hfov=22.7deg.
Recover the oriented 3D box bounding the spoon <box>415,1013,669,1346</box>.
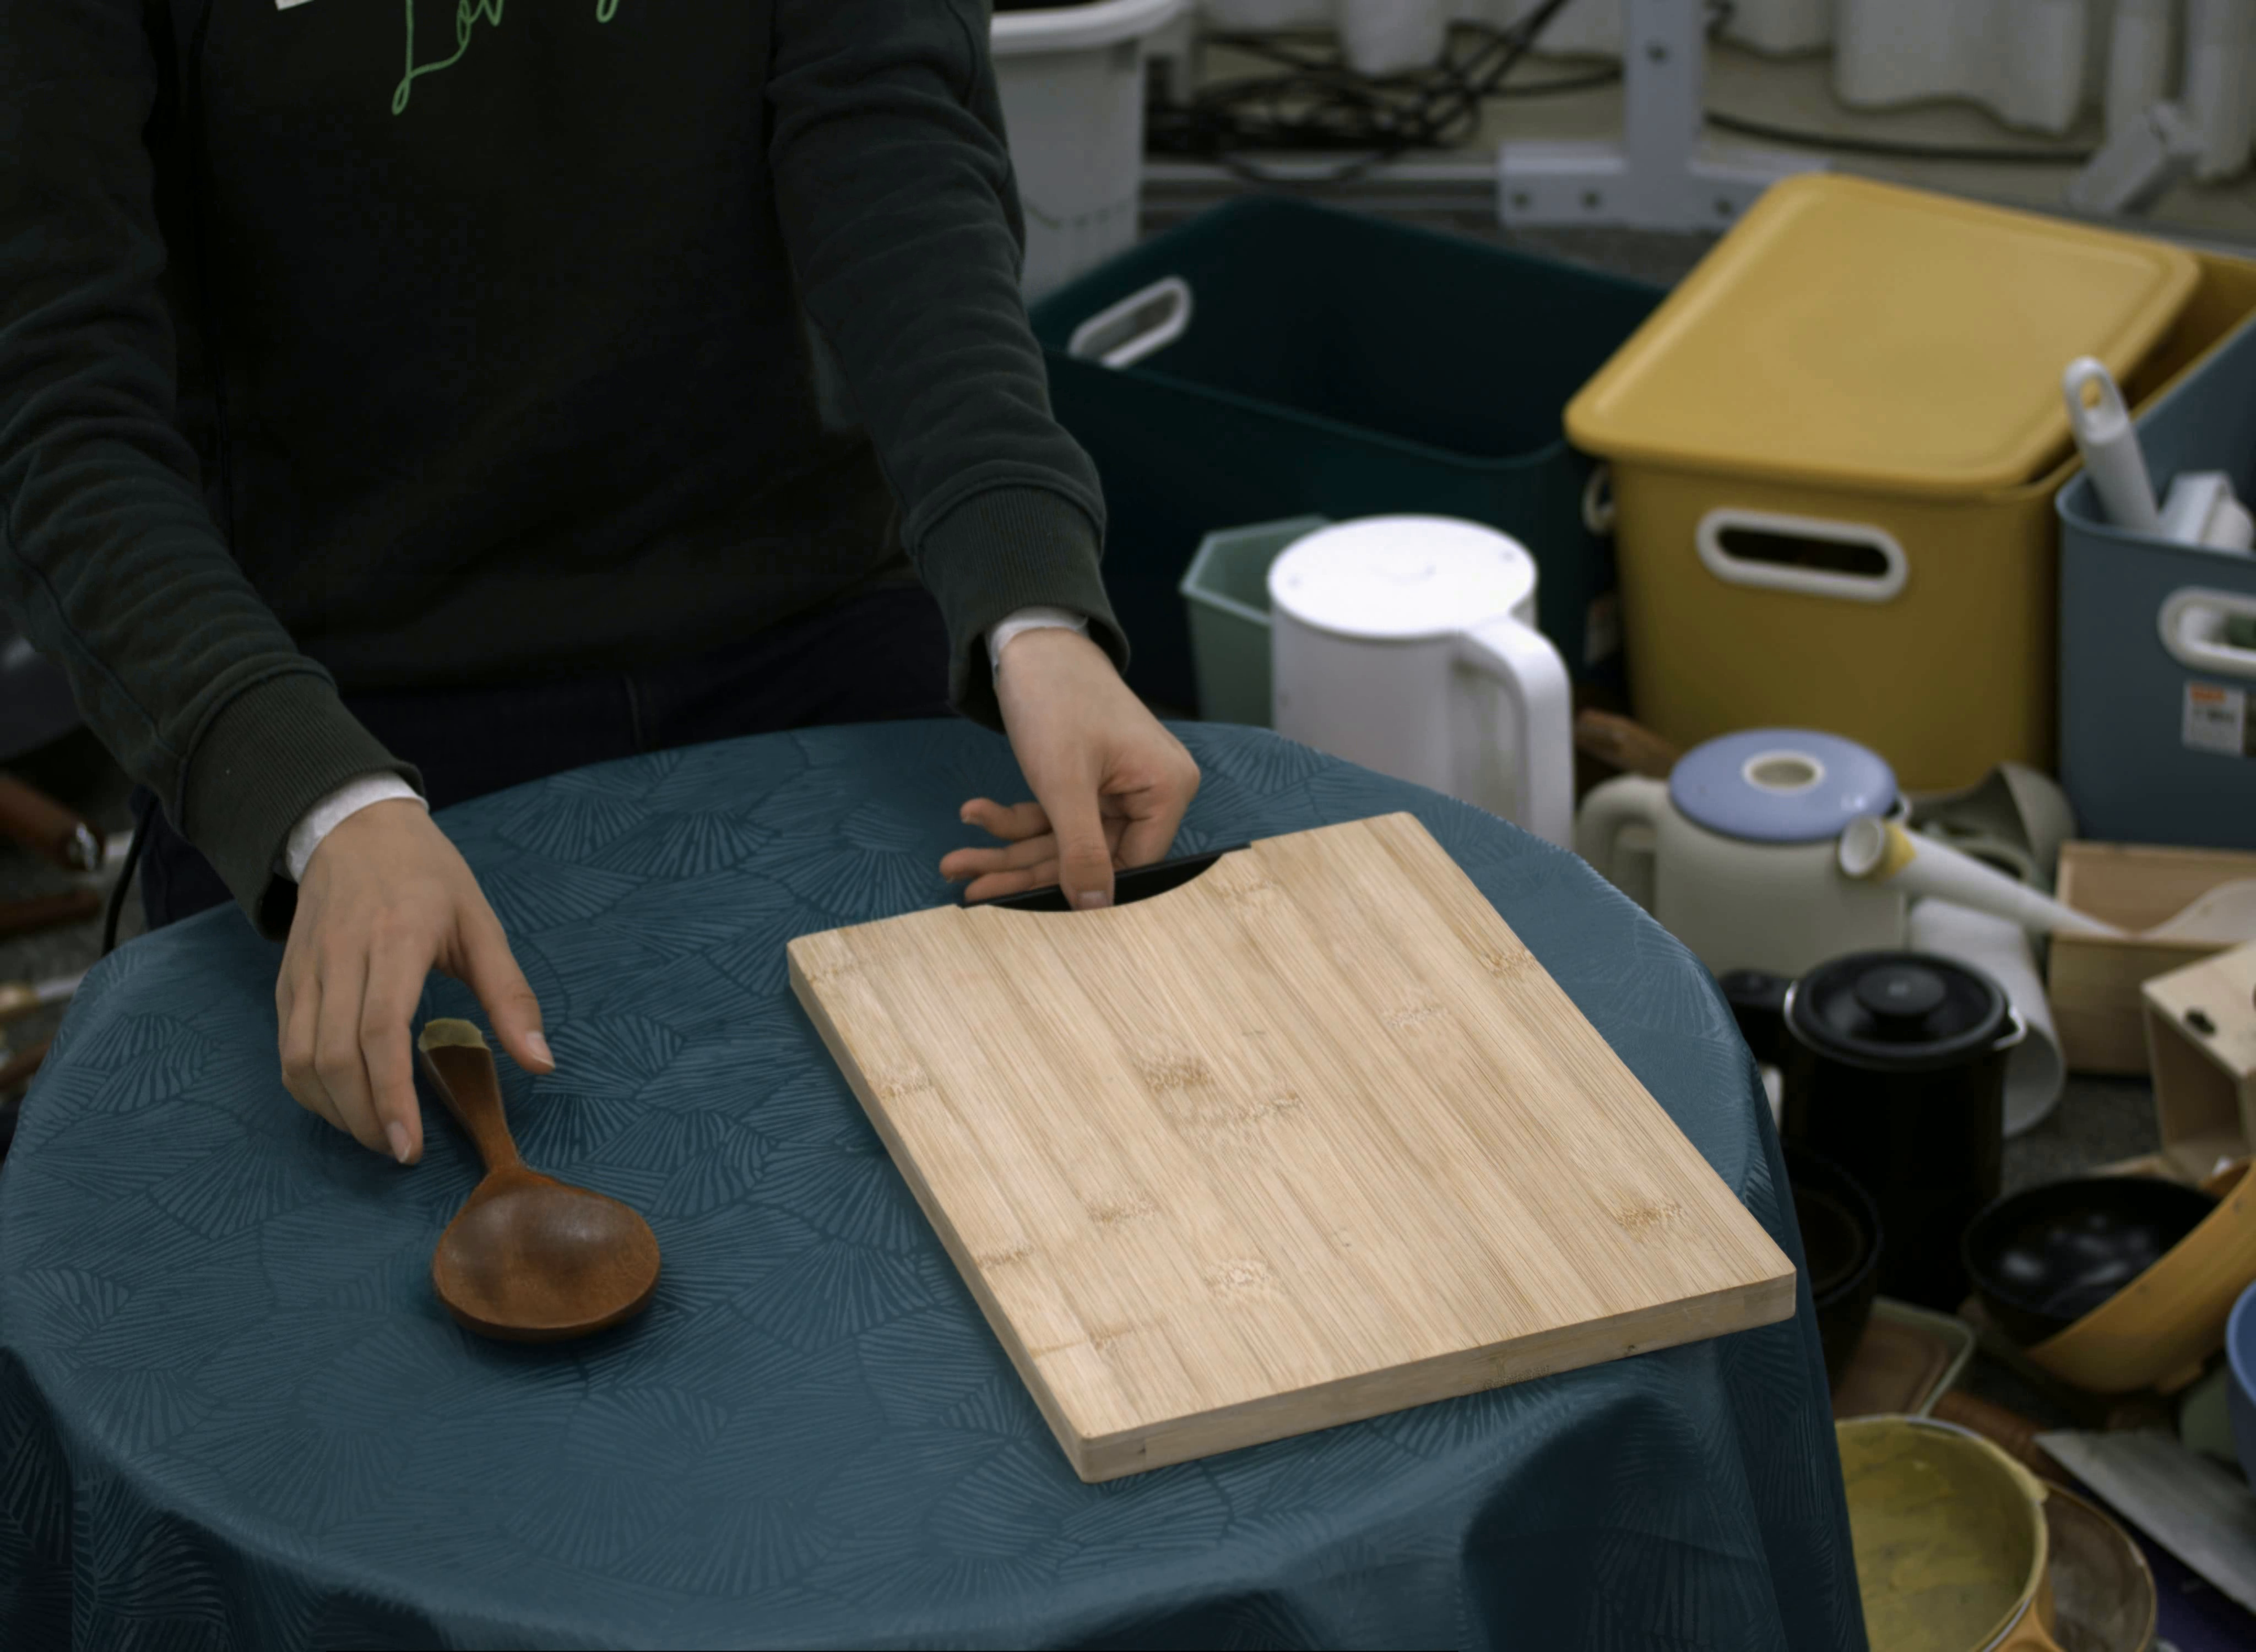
[{"bbox_3d":[-0.205,0.118,1.869,0.075,0.017,0.218,-12,29,-14],"label":"spoon"}]

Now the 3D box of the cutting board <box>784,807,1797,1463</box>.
[{"bbox_3d":[0.044,0.096,1.889,0.251,0.023,0.351,-11,28,-16],"label":"cutting board"}]
